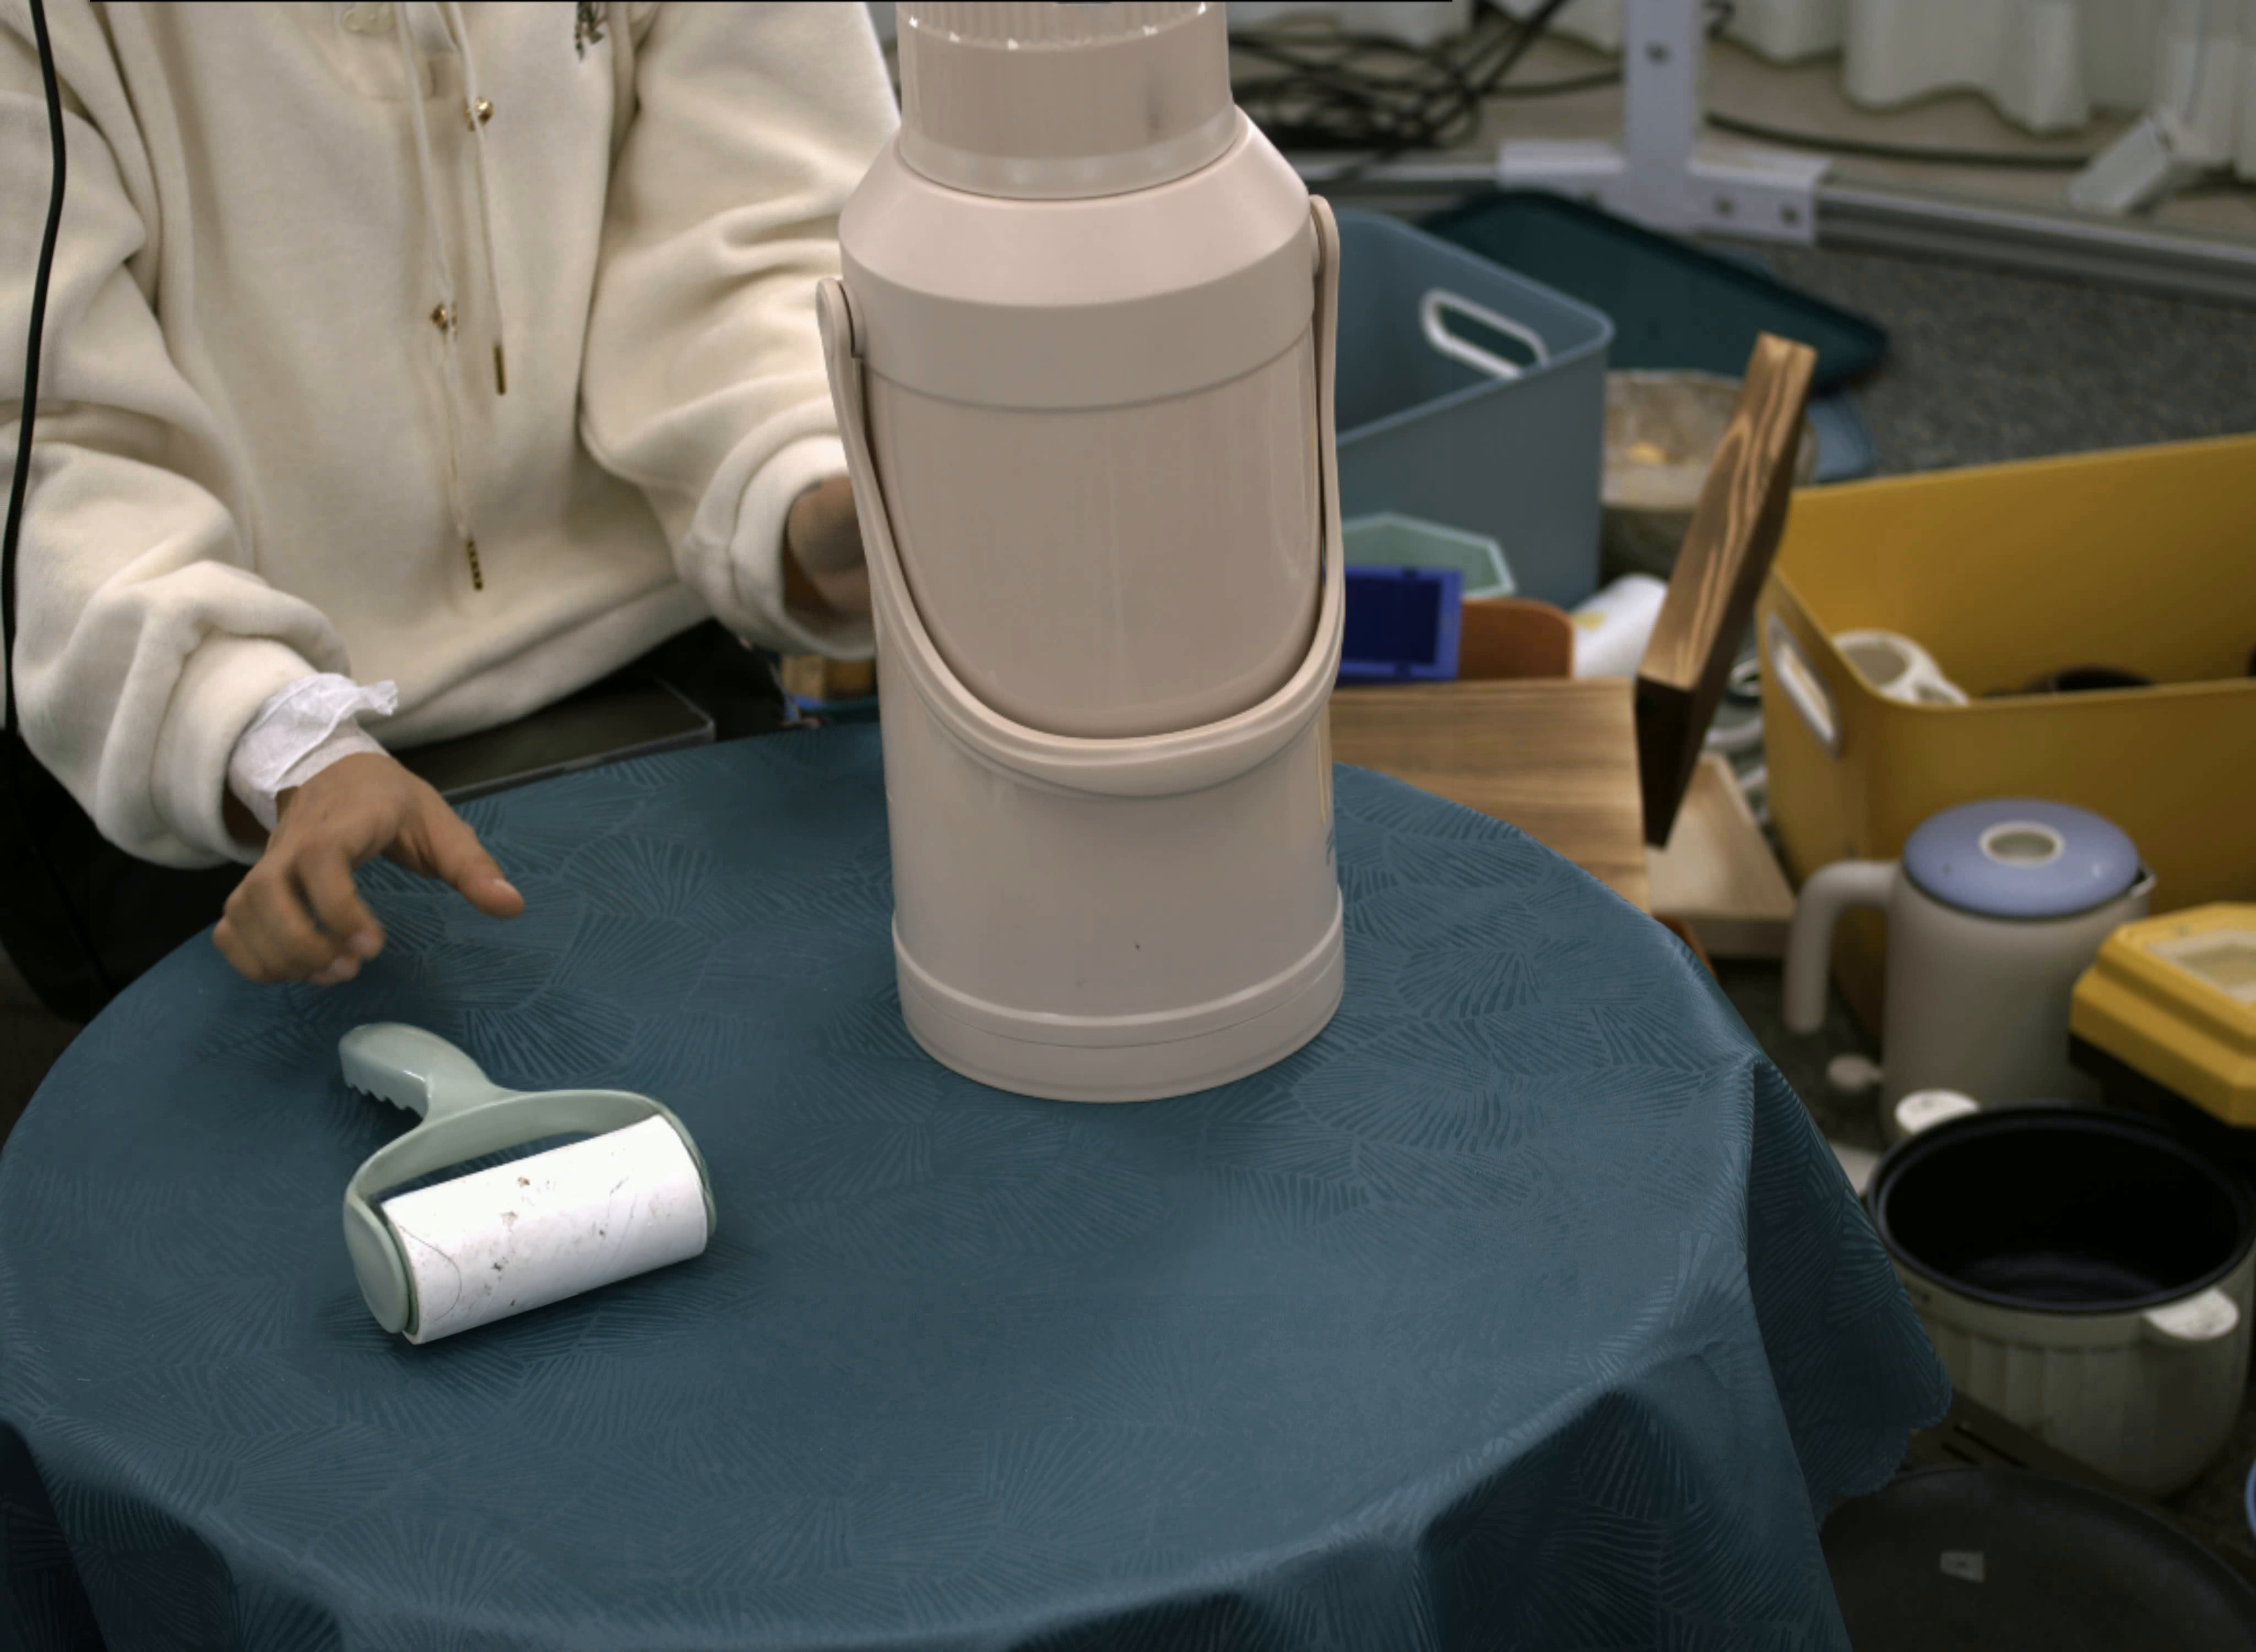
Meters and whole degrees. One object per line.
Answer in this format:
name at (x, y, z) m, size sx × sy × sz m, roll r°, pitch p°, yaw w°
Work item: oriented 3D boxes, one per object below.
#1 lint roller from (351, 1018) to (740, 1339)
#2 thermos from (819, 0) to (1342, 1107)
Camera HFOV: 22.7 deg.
lint roller at (-0.216, 0.099, 1.875) m, size 0.117 × 0.048 × 0.199 m, roll -17°, pitch 31°, yaw -21°
thermos at (-0.015, -0.122, 1.909) m, size 0.175 × 0.402 × 0.209 m, roll -11°, pitch 27°, yaw -14°
